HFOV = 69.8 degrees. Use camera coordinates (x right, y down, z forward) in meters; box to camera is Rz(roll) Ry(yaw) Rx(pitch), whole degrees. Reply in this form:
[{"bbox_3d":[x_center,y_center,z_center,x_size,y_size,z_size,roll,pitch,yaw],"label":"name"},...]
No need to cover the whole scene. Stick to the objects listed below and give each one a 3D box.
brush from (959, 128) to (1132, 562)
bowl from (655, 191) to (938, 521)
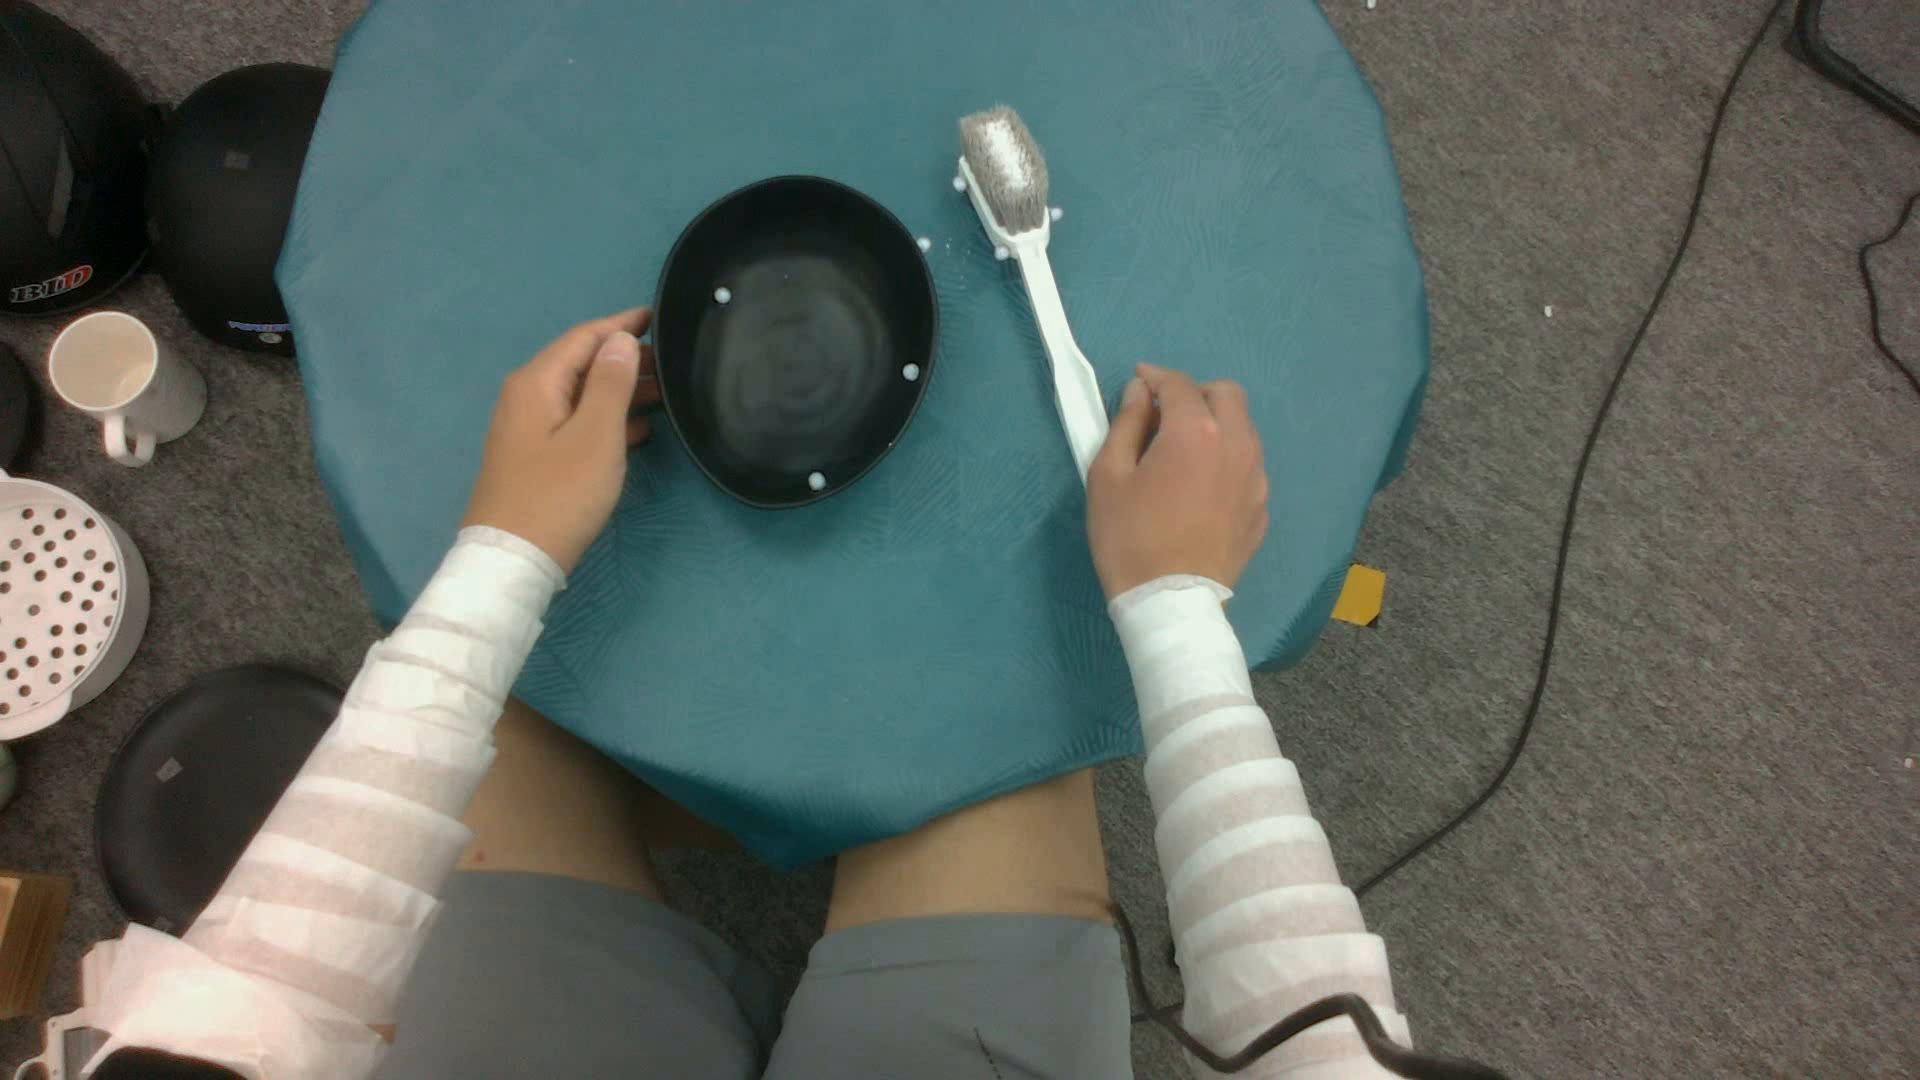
[{"bbox_3d":[0.048,-0.107,0.729,0.034,0.050,0.244,-15,78,-10],"label":"brush"},{"bbox_3d":[-0.082,-0.089,0.704,0.137,0.066,0.170,7,78,-4],"label":"bowl"}]
